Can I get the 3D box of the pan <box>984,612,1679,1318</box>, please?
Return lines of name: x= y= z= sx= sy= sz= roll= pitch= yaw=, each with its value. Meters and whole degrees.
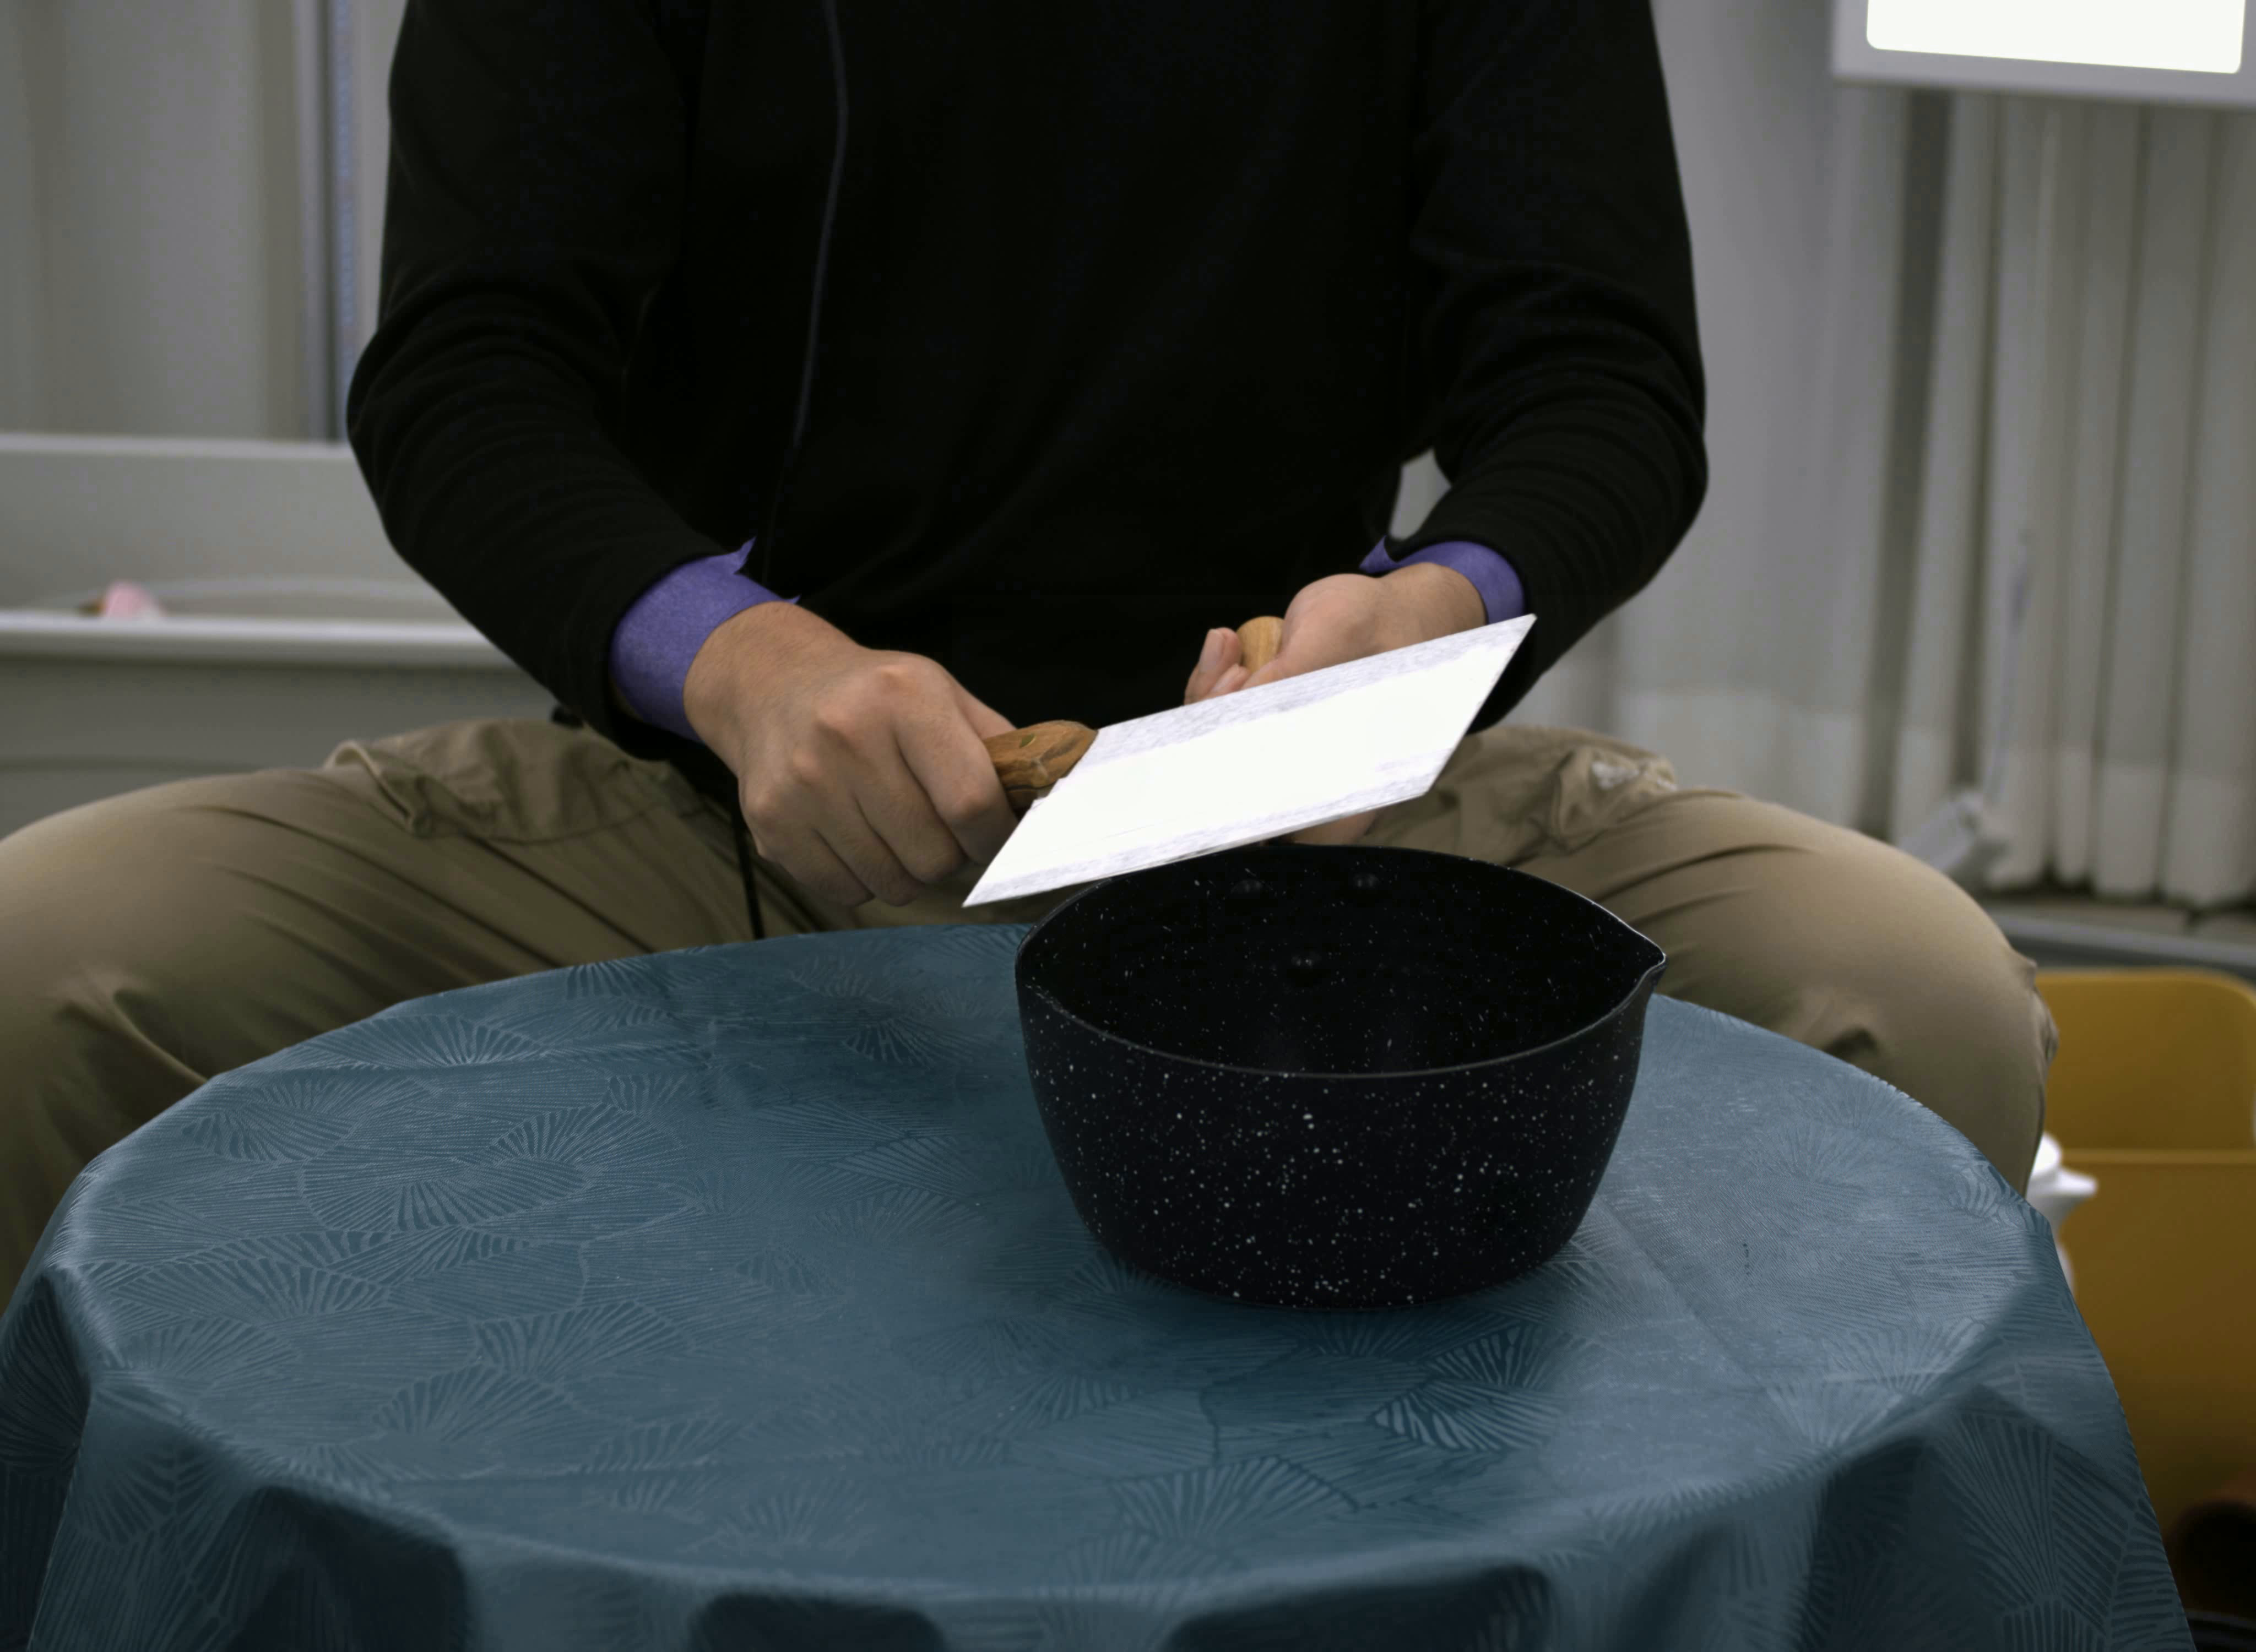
pan: x=0.055 y=0.038 z=1.645 sx=0.207 sy=0.109 sz=0.340 roll=-1 pitch=22 yaw=-5

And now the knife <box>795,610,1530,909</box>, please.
knife: x=-0.004 y=-0.011 z=1.667 sx=0.303 sy=0.021 sz=0.092 roll=-14 pitch=30 yaw=40
